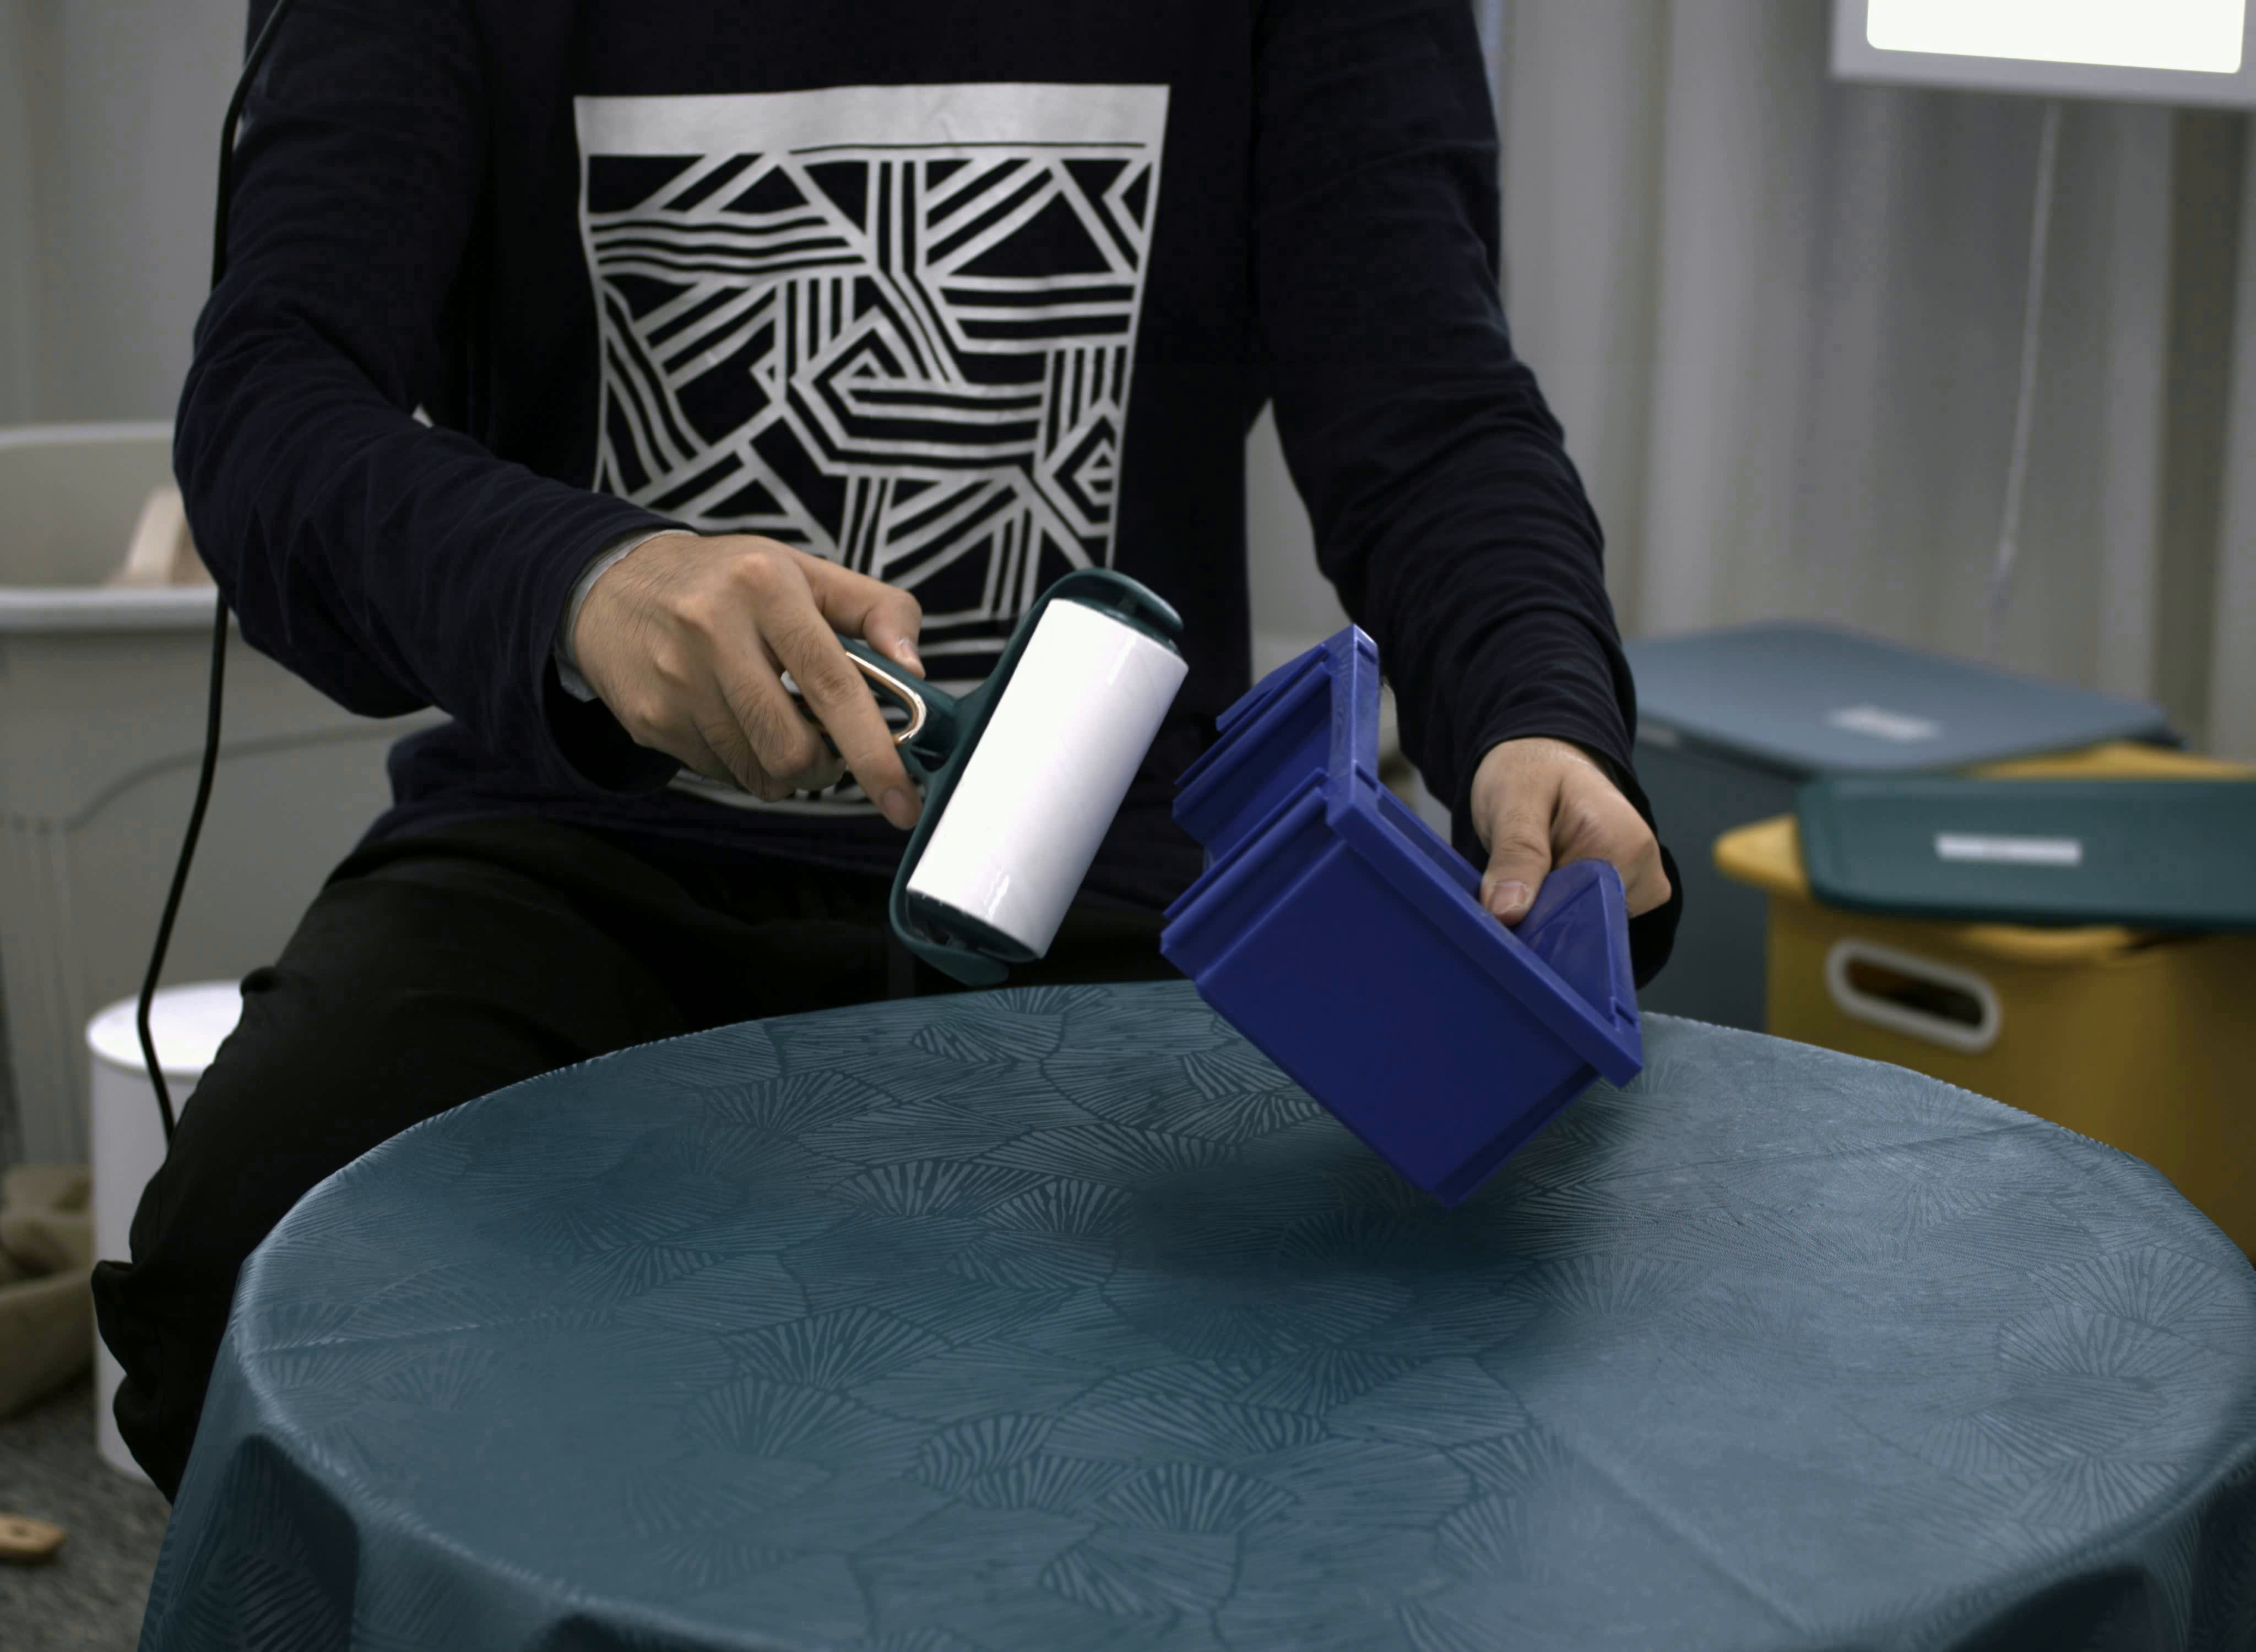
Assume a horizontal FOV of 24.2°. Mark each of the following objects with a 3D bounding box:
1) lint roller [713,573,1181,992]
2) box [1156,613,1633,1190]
[{"bbox_3d":[-0.075,-0.032,1.630,0.177,0.134,0.049,21,-8,36],"label":"lint roller"},{"bbox_3d":[0.083,0.018,1.607,0.125,0.082,0.178,42,21,-12],"label":"box"}]
